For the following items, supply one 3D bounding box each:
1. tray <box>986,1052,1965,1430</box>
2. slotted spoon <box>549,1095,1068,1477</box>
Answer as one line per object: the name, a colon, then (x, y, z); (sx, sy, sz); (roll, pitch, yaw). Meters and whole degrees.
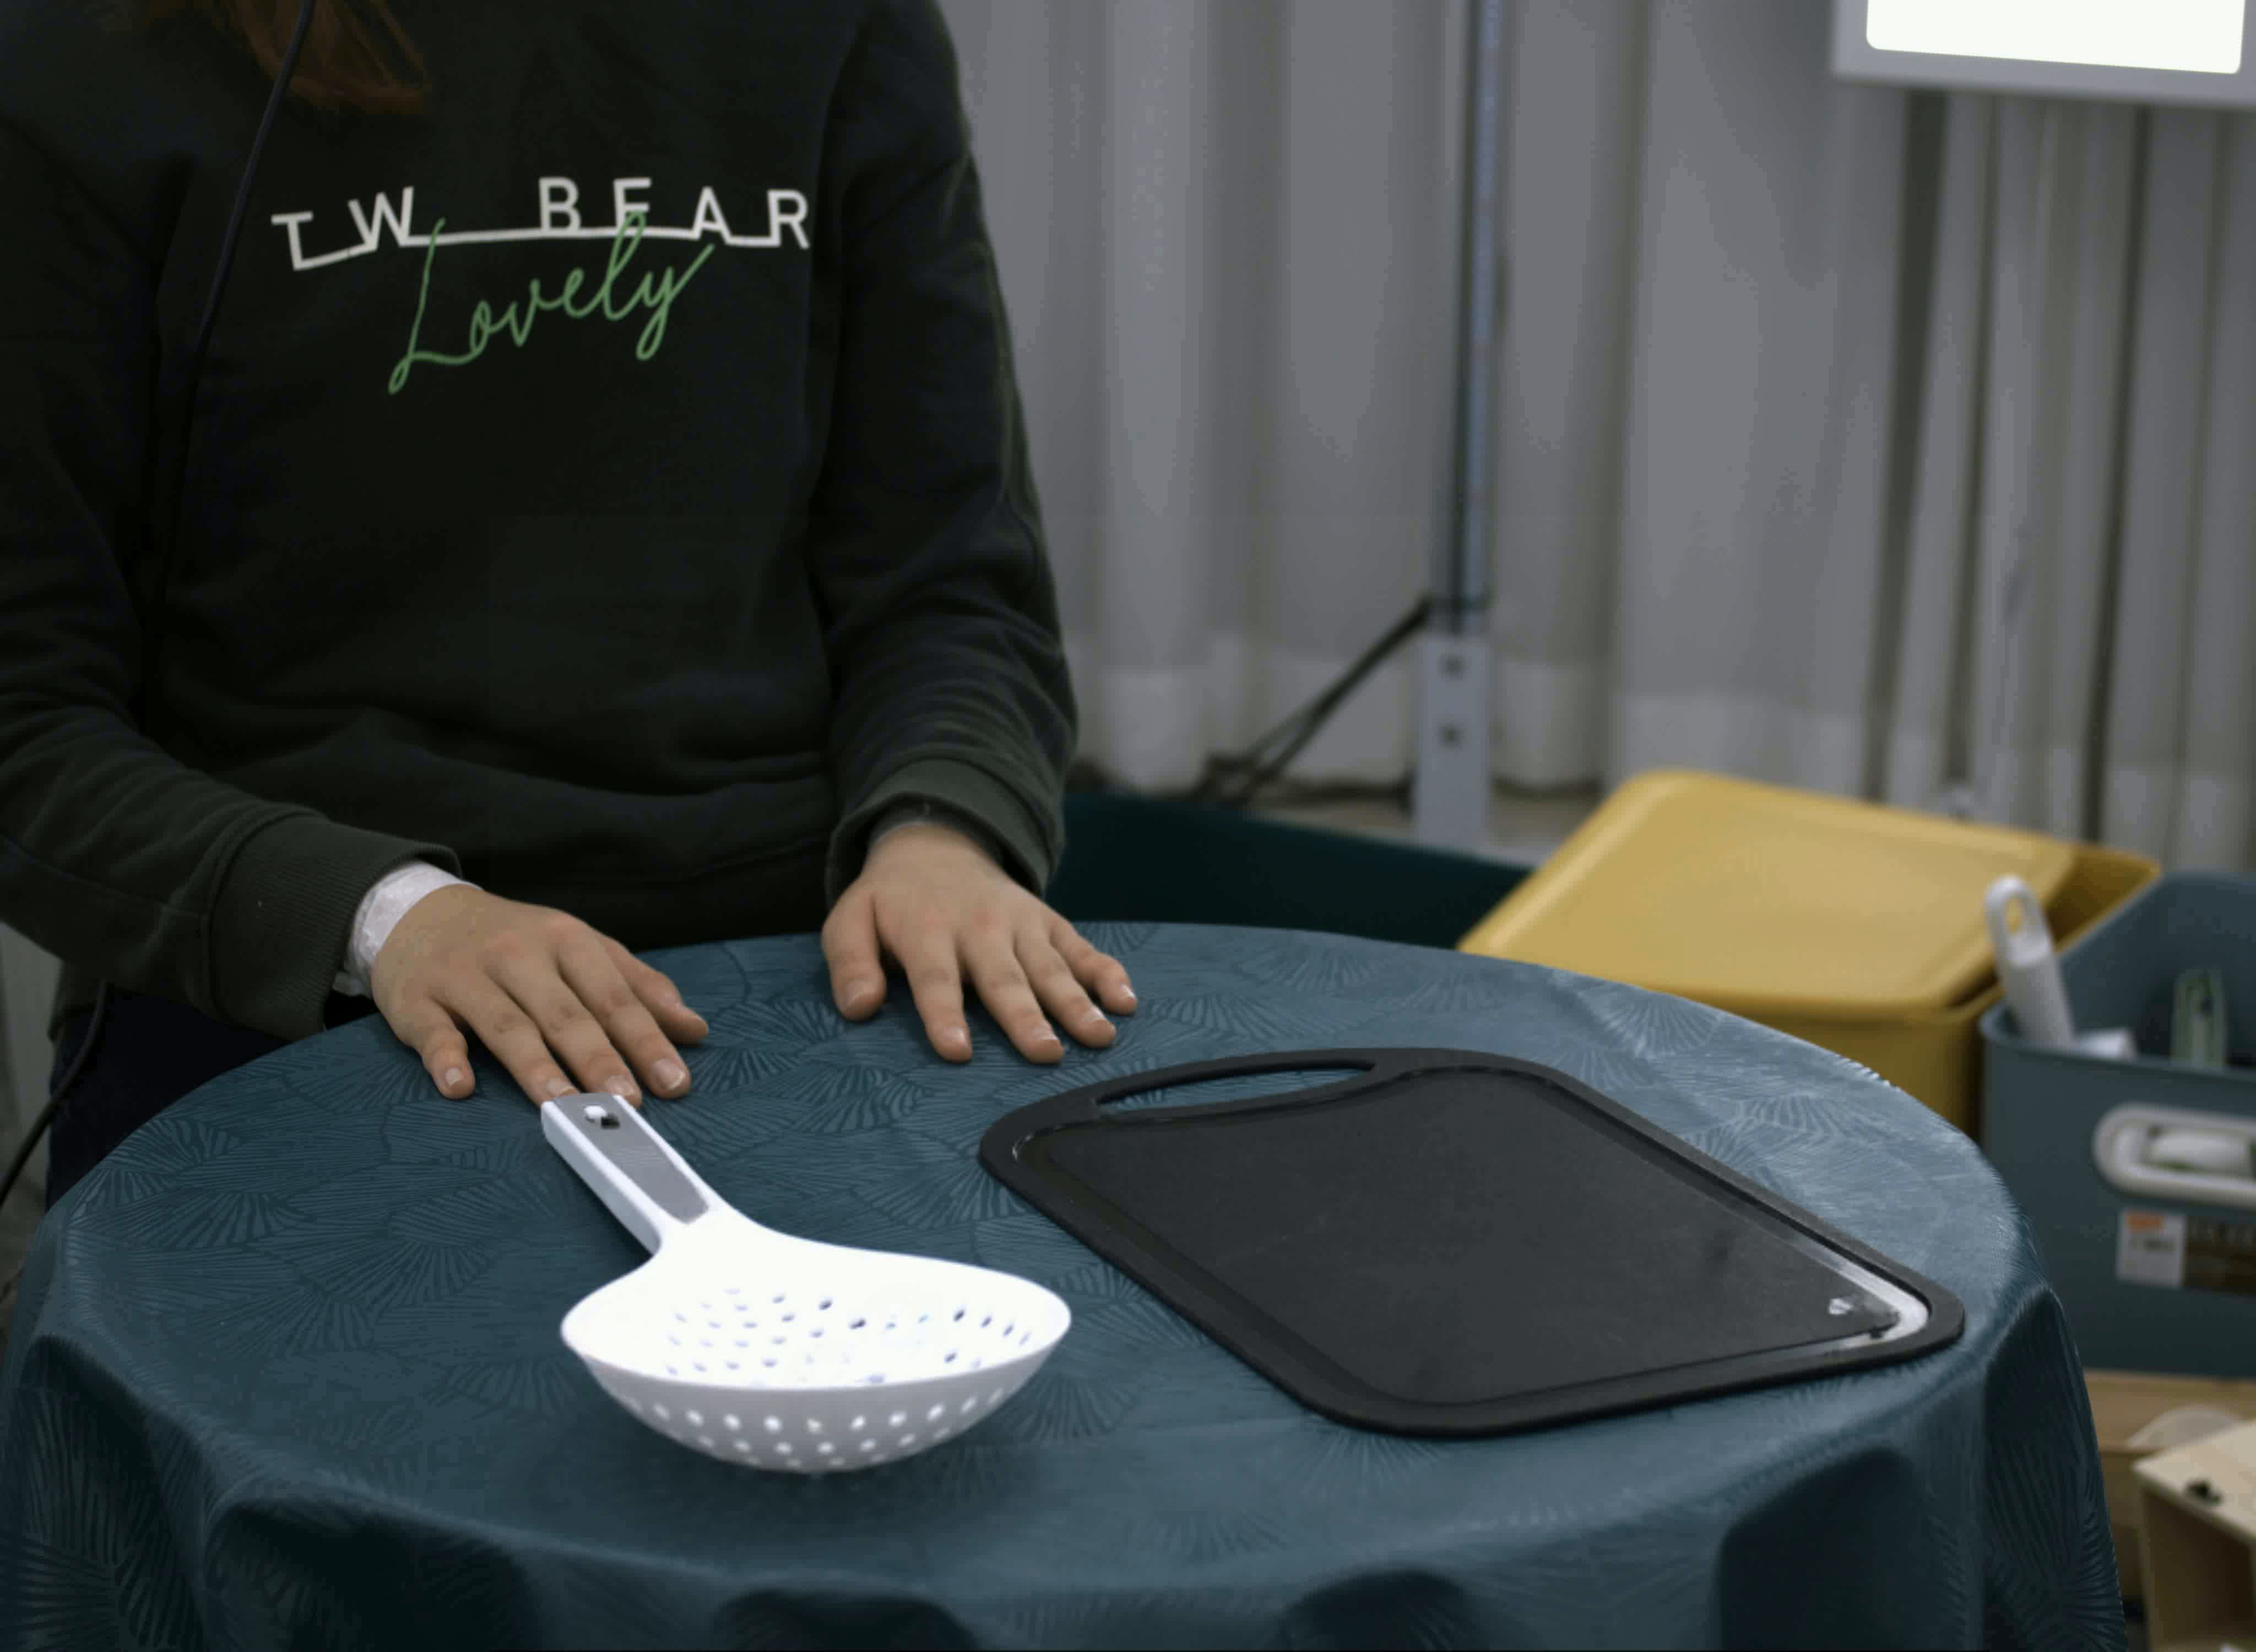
tray: (0.094, 0.118, 1.599); (0.212, 0.010, 0.321); (-6, 17, -25)
slotted spoon: (-0.118, 0.122, 1.506); (0.136, 0.046, 0.346); (-2, 15, -19)
